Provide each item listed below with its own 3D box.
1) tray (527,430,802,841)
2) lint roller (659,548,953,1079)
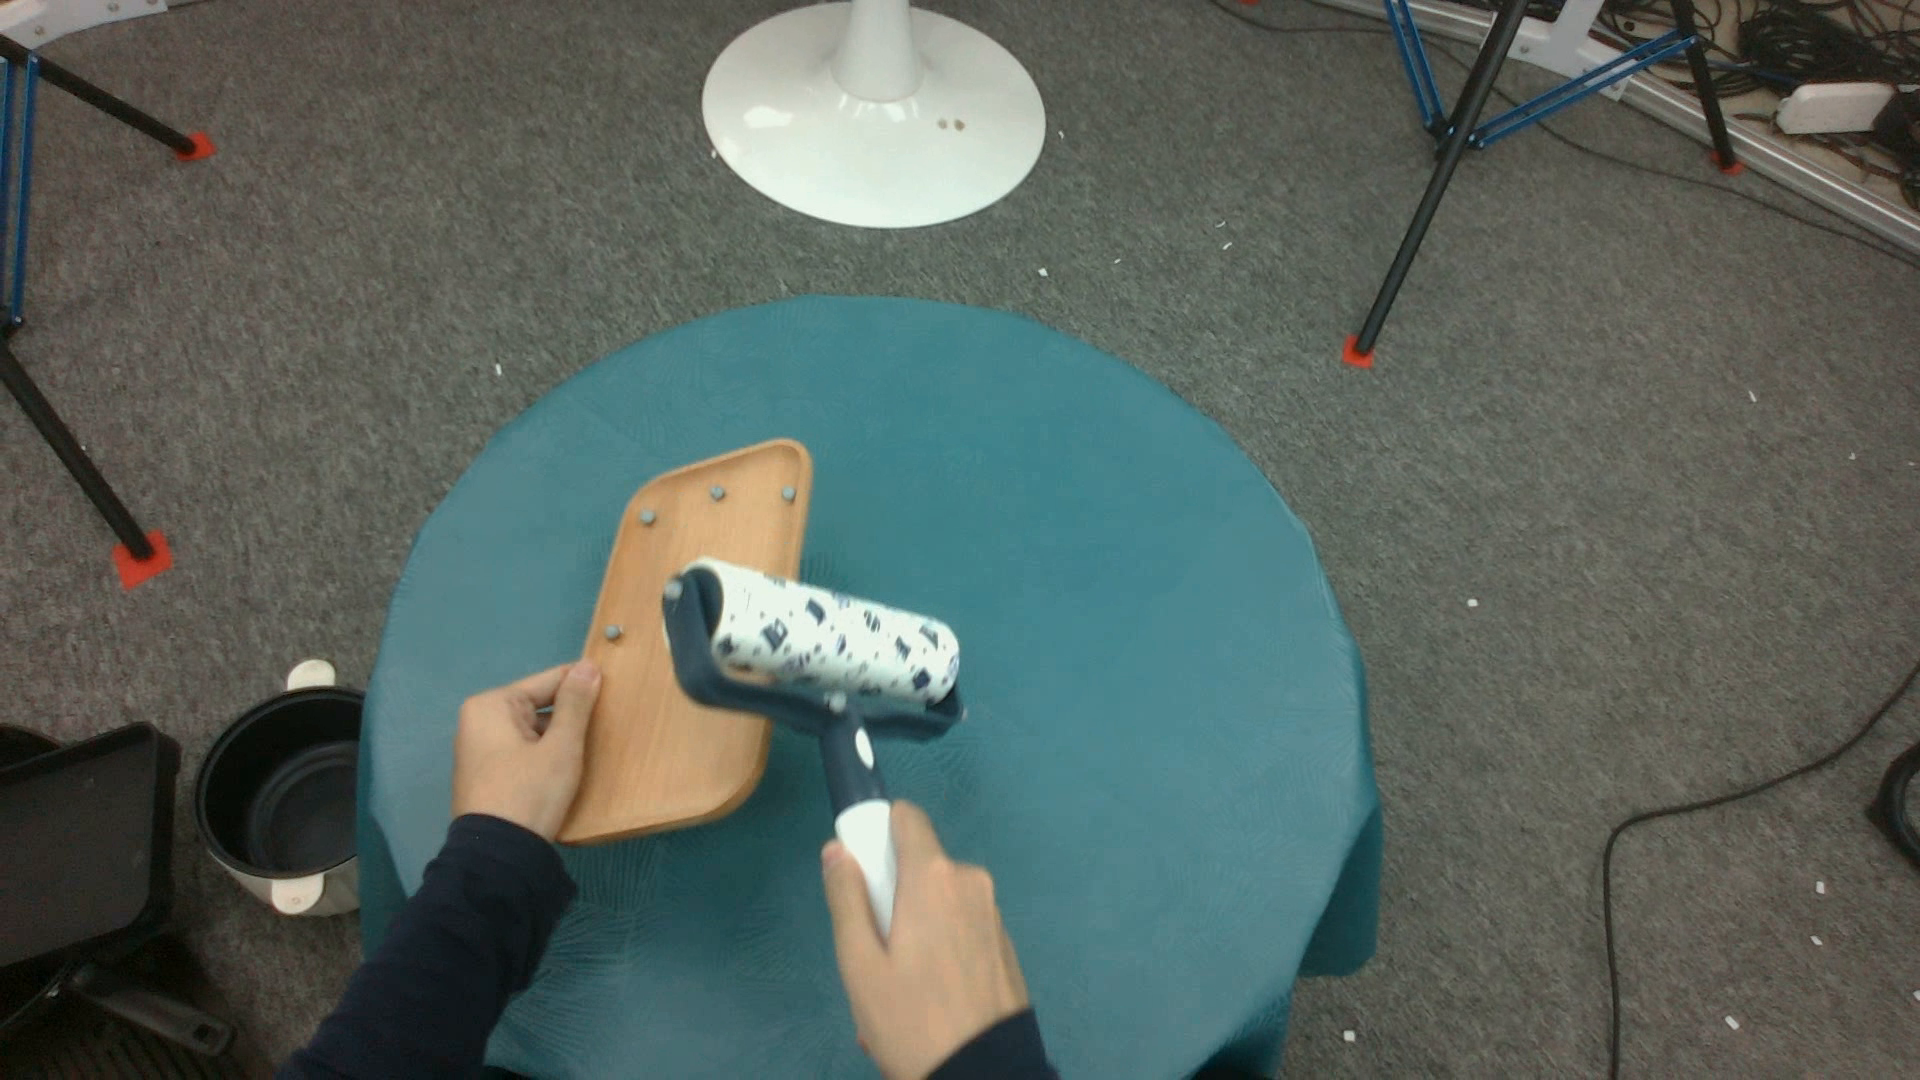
[{"bbox_3d":[-0.152,0.044,0.740,0.130,0.023,0.252,-16,46,22],"label":"tray"},{"bbox_3d":[-0.045,0.126,0.638,0.176,0.050,0.248,19,43,-48],"label":"lint roller"}]
